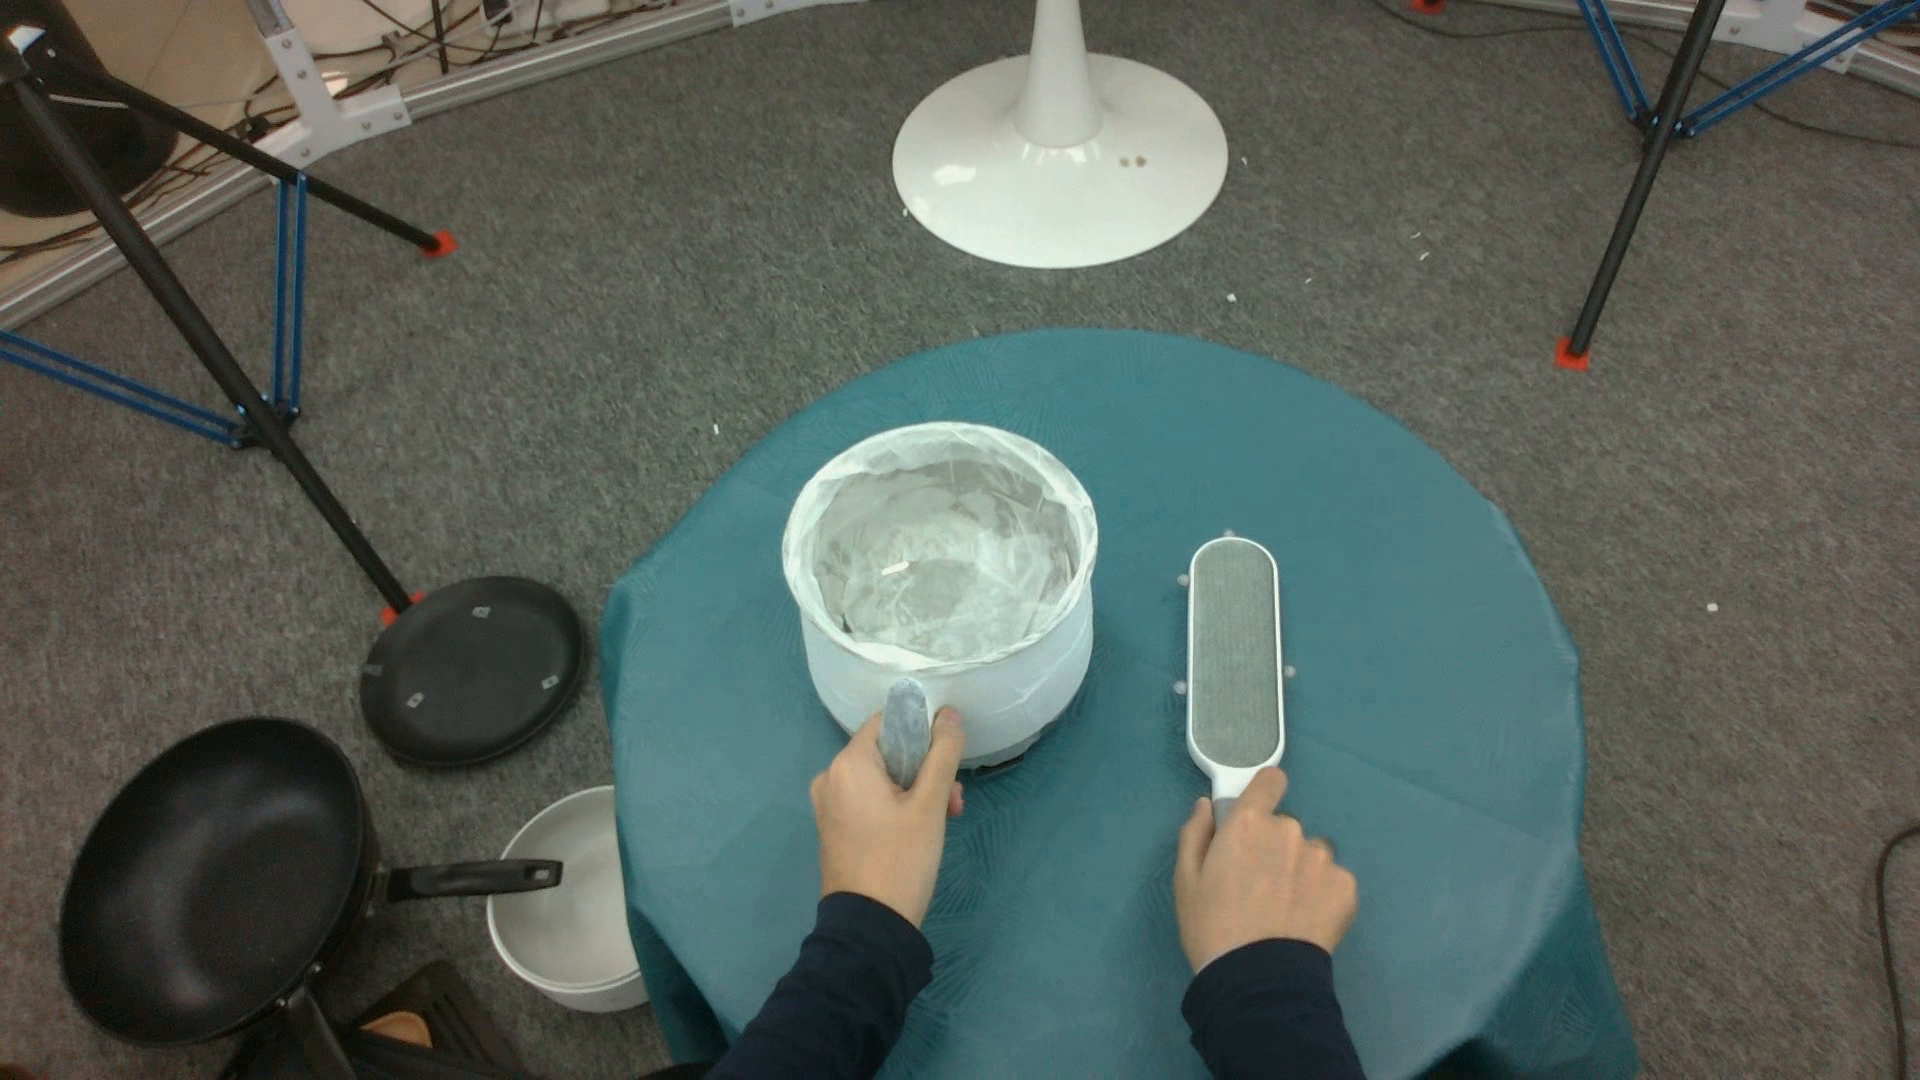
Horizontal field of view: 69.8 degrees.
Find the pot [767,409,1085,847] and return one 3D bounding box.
[{"bbox_3d":[-0.018,0.052,0.798,0.178,0.136,0.235,3,52,9],"label":"pot"}]

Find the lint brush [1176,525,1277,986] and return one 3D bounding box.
[{"bbox_3d":[0.156,0.110,0.807,0.060,0.021,0.310,7,50,3],"label":"lint brush"}]
